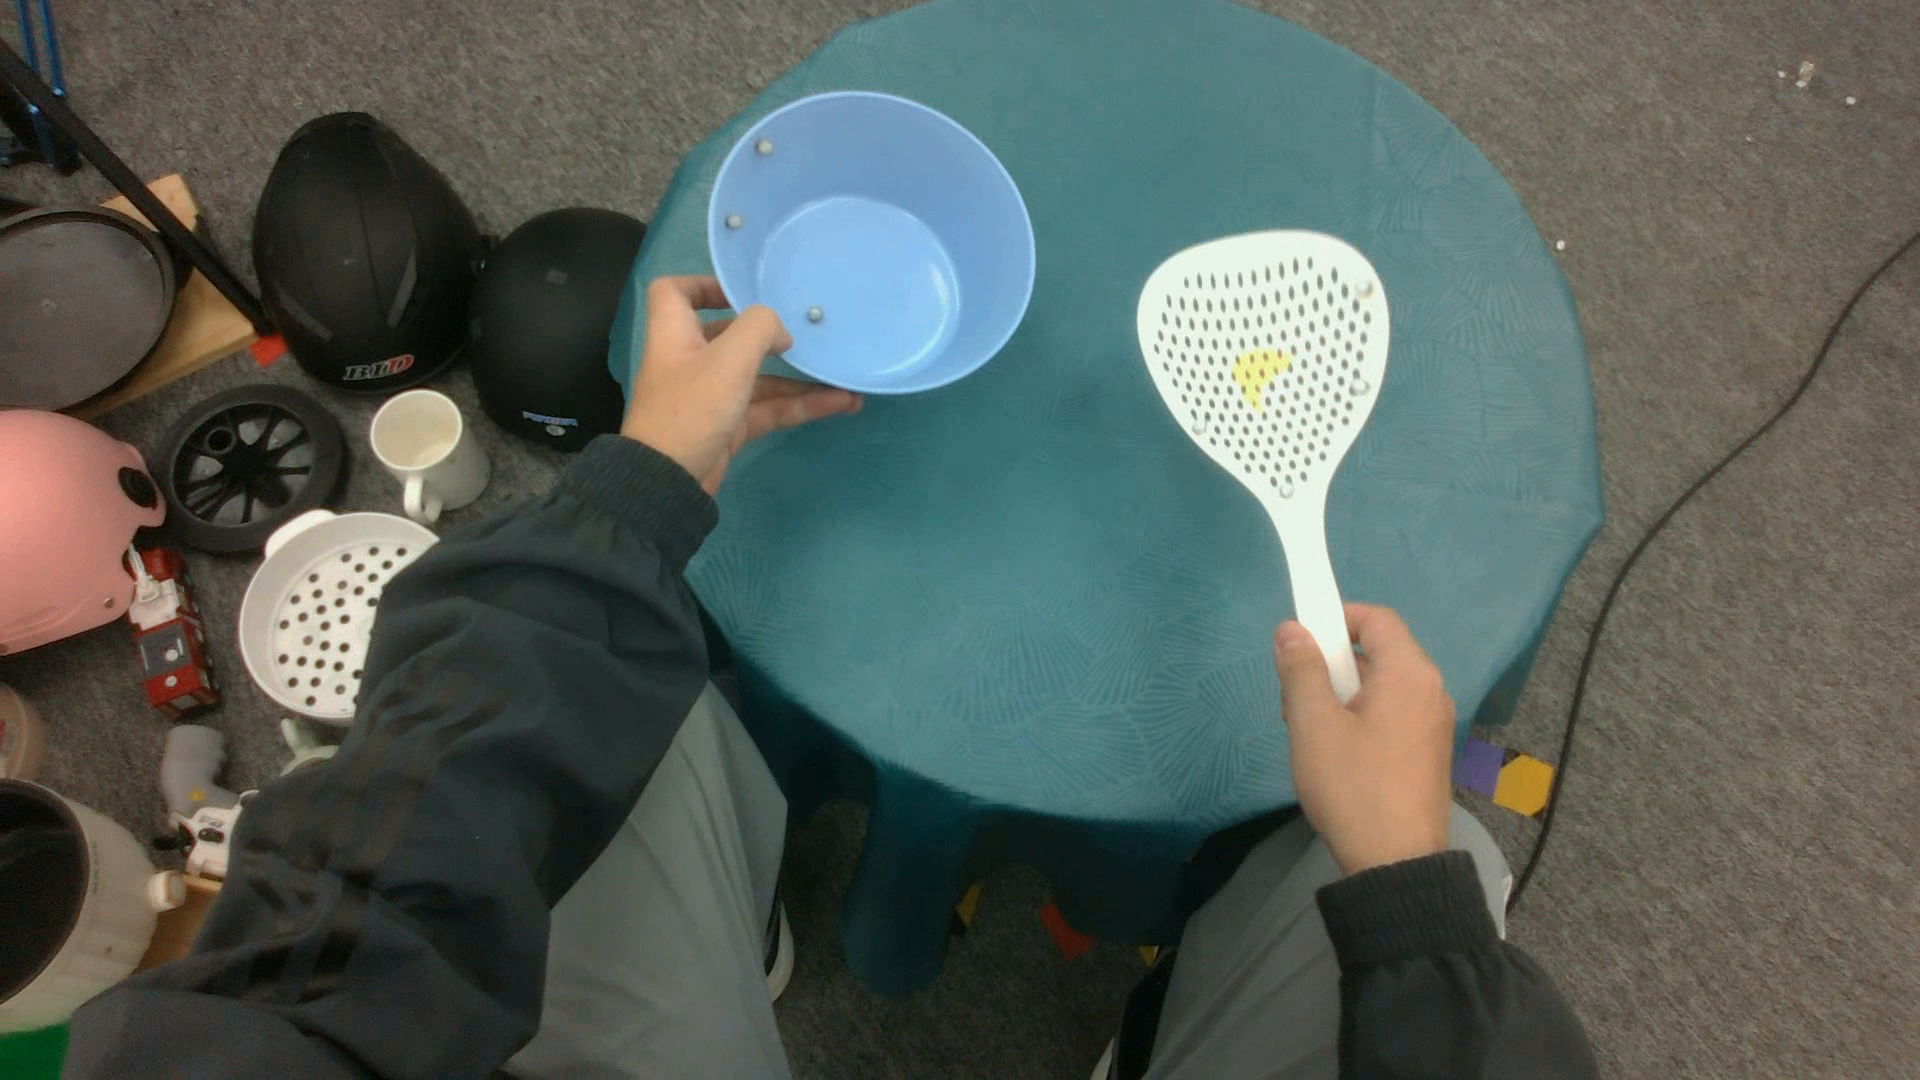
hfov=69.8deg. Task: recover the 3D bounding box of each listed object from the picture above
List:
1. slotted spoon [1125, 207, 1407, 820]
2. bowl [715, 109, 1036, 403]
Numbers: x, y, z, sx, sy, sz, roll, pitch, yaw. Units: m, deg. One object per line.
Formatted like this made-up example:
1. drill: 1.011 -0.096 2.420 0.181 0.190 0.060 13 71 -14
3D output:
1. slotted spoon: 0.176 -0.027 0.723 0.137 0.050 0.349 -10 60 5
2. bowl: -0.050 -0.148 0.776 0.176 0.070 0.176 3 73 -11
